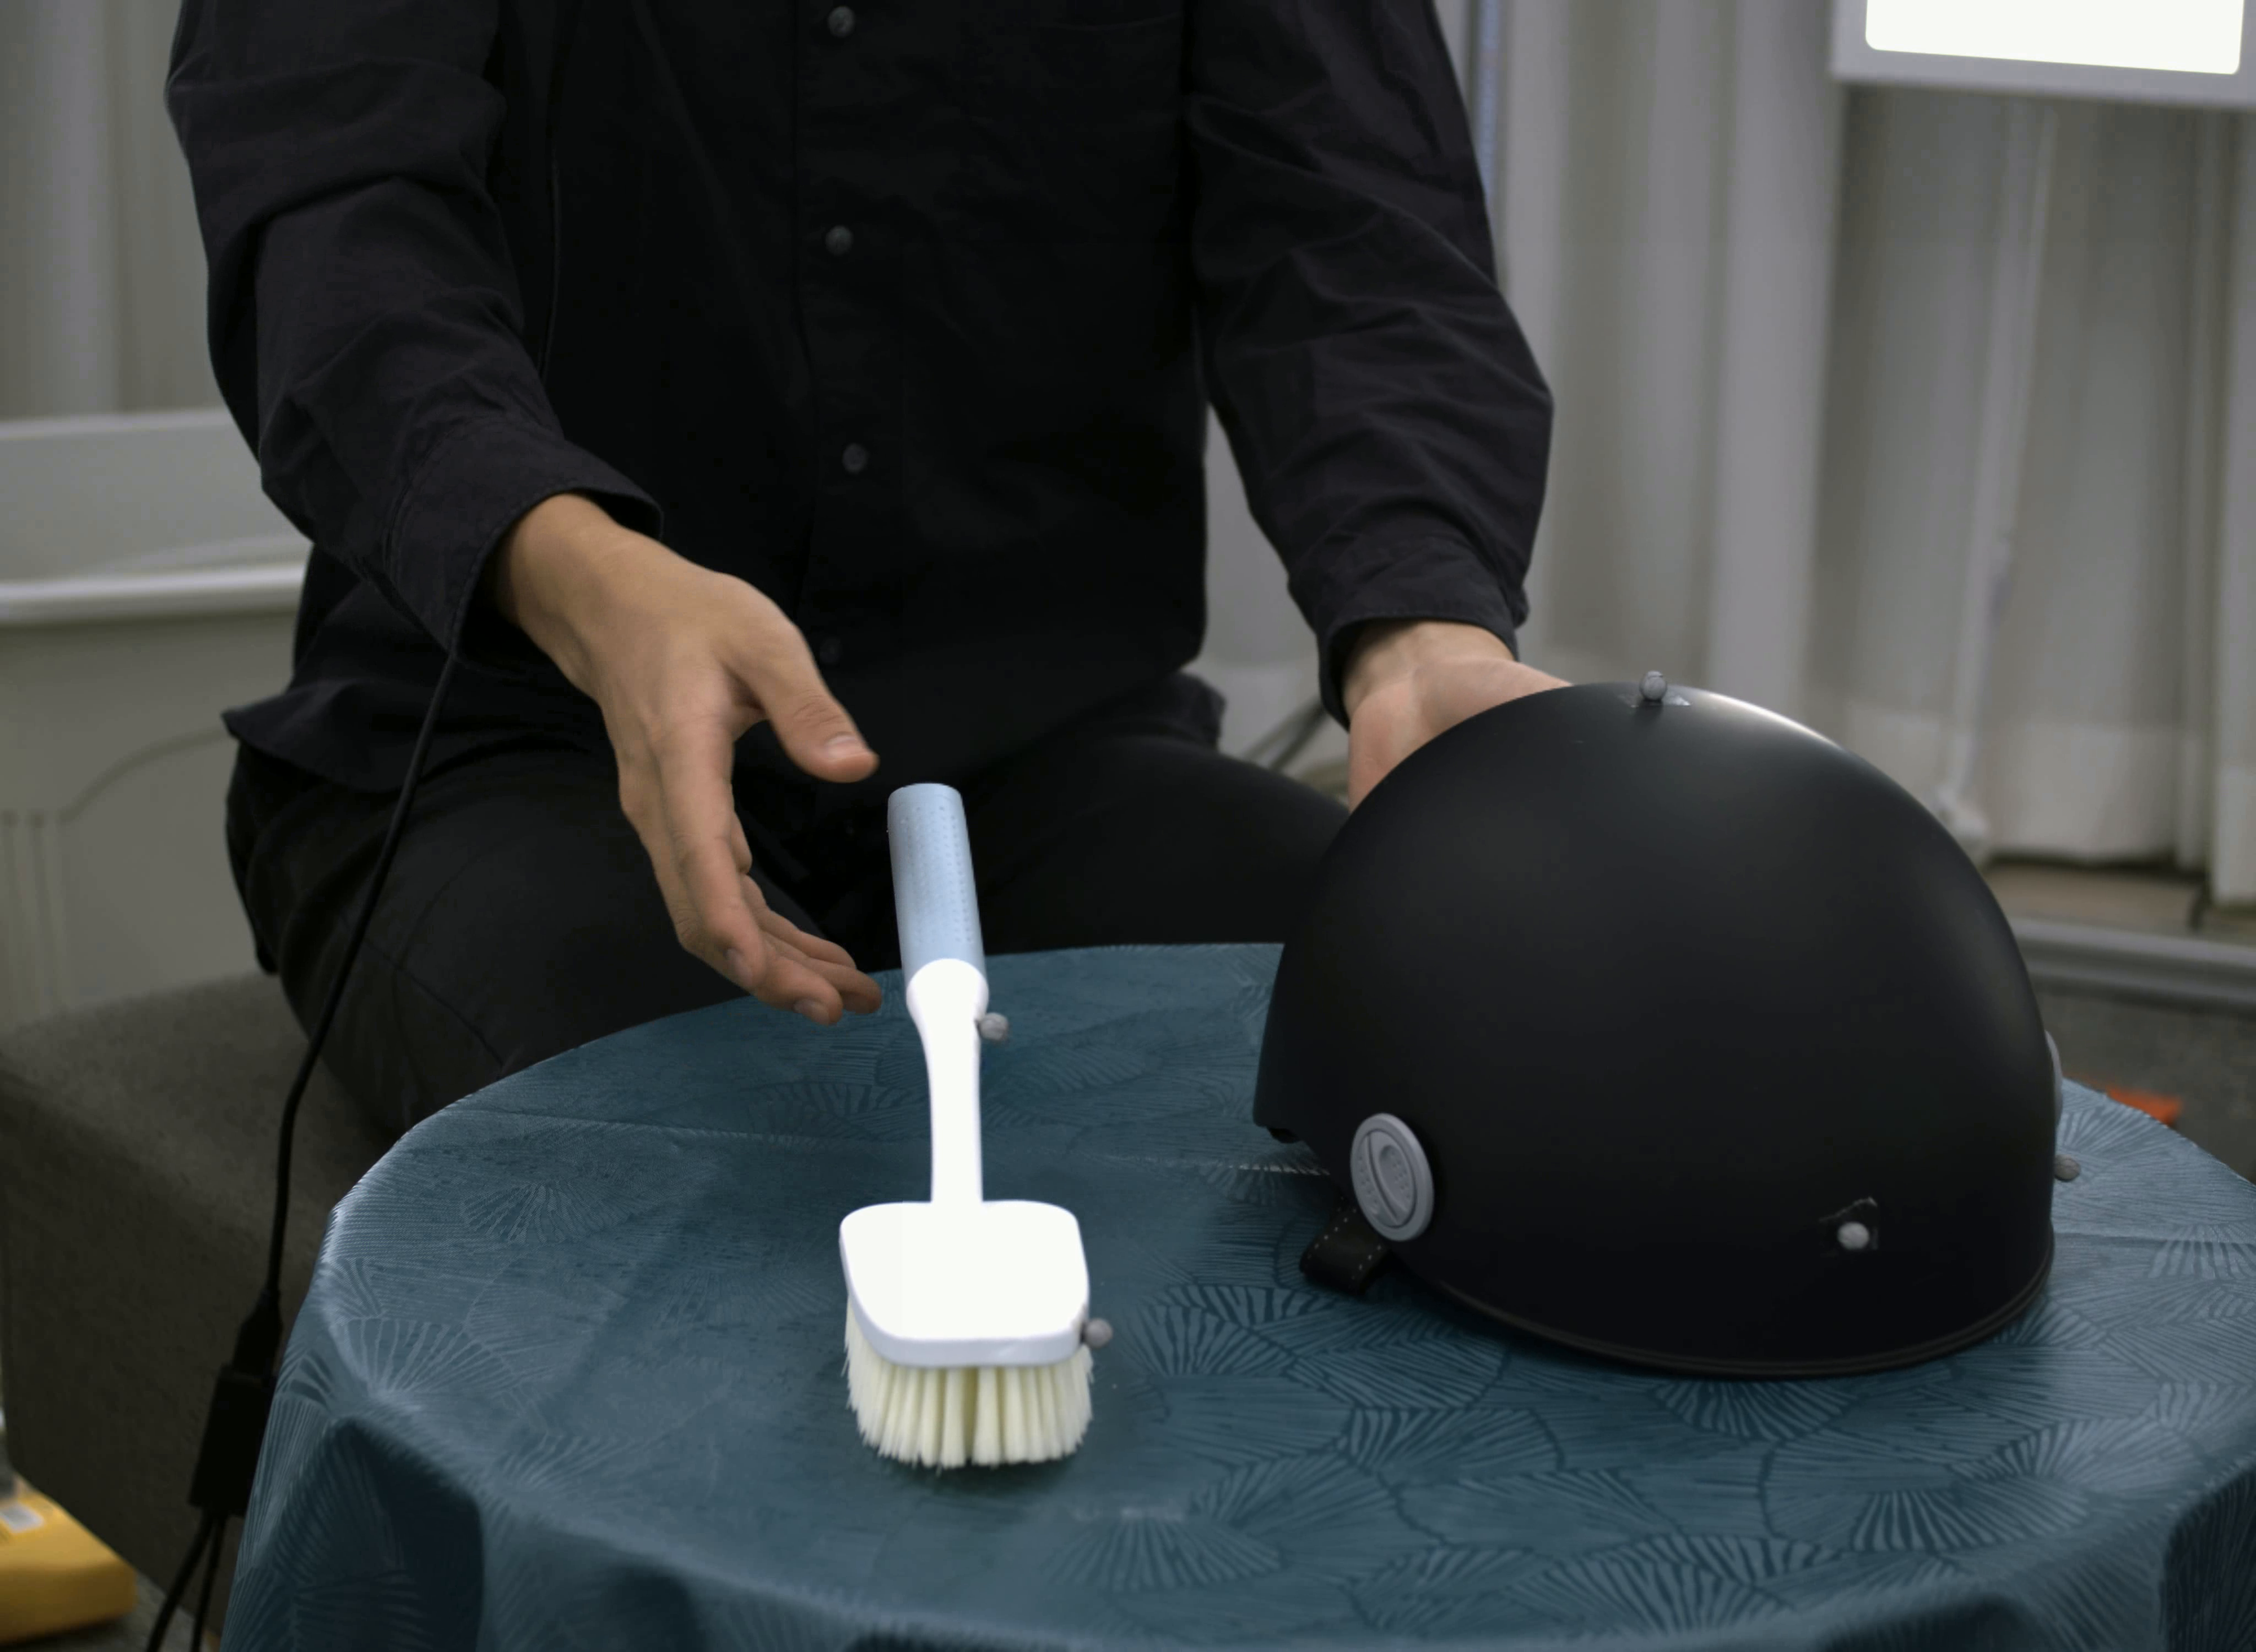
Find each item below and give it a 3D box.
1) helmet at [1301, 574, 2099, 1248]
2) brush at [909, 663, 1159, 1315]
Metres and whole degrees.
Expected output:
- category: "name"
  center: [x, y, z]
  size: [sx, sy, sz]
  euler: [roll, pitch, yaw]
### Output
- category: "helmet"
  center: [0.177, 0.013, 1.610]
  size: [0.230, 0.168, 0.270]
  euler: [-7, 20, -20]
- category: "brush"
  center: [-0.029, 0.060, 1.571]
  size: [0.084, 0.084, 0.322]
  euler: [33, 20, -20]
